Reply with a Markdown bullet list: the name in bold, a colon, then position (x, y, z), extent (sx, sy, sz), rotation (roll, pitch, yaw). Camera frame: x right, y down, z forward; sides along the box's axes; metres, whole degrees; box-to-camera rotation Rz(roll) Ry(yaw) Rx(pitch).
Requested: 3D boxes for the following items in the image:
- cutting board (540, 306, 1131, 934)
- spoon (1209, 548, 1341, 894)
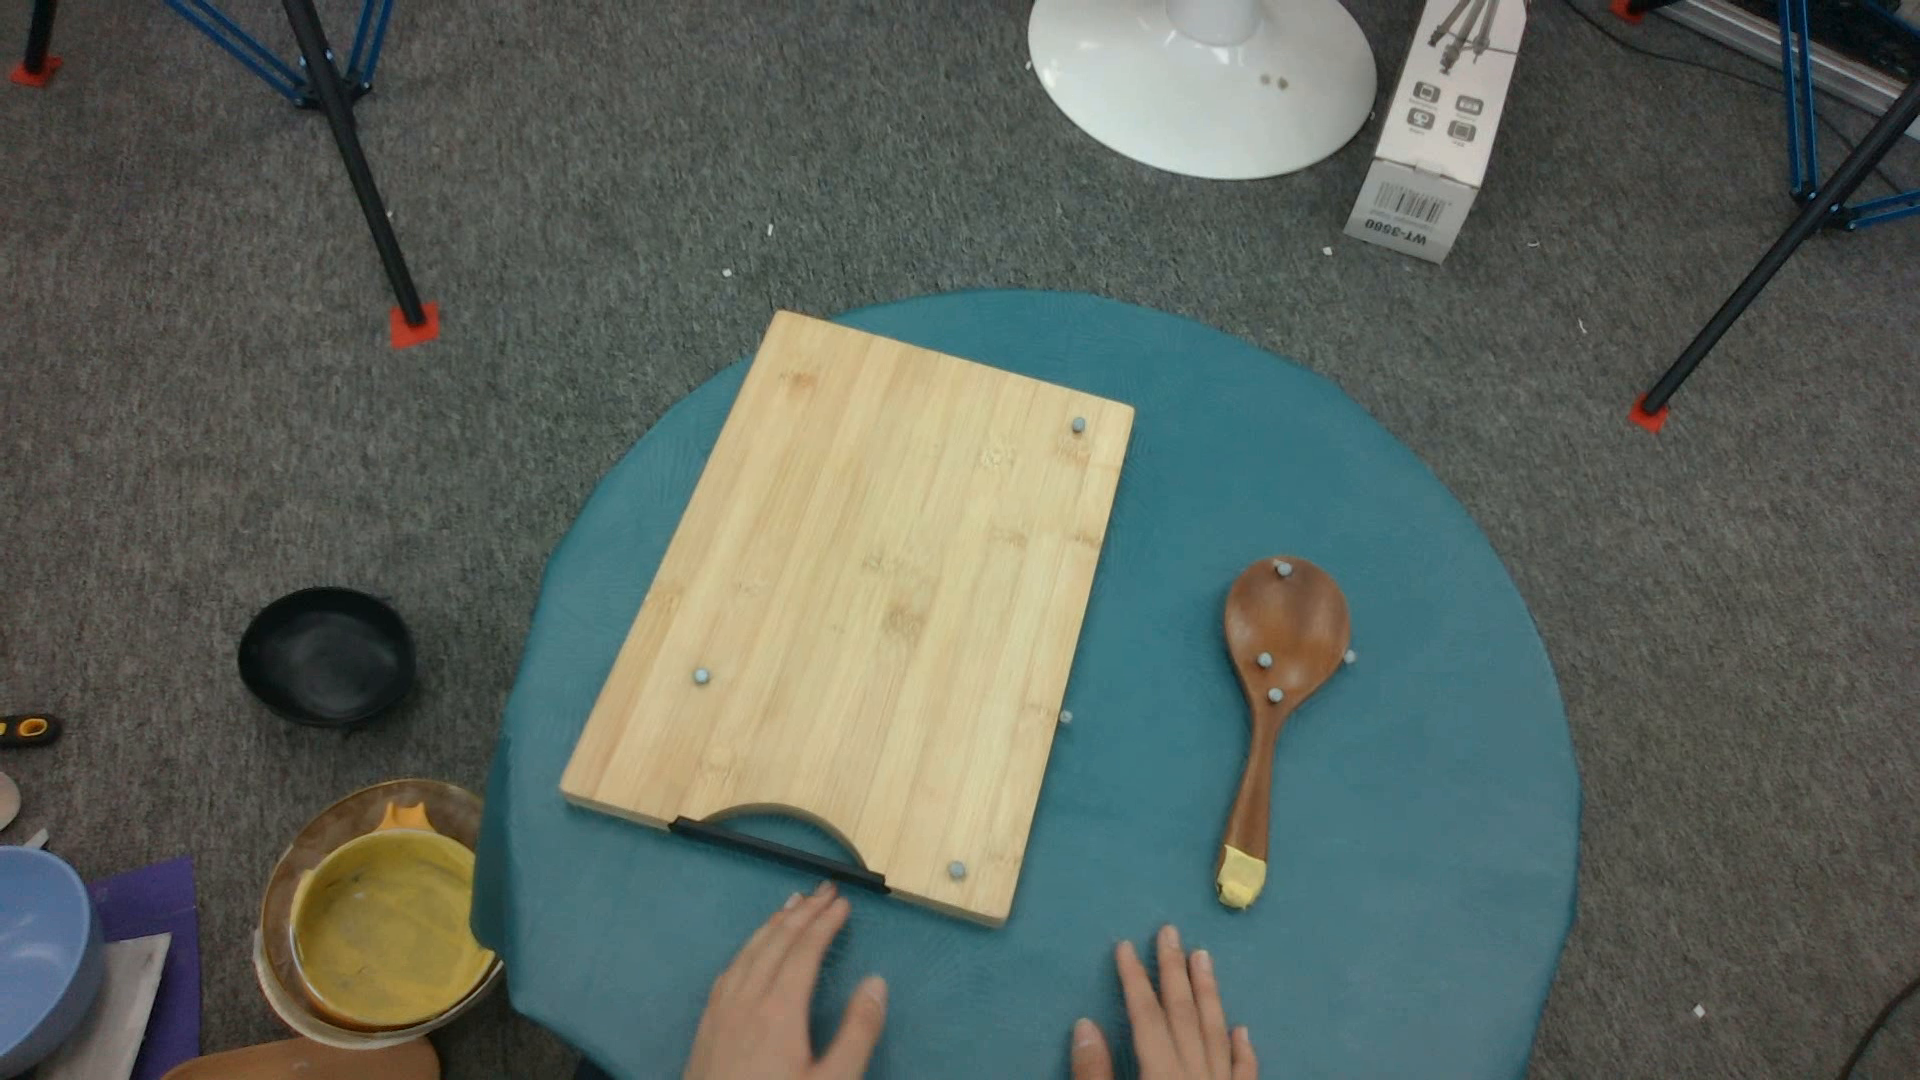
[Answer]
- **cutting board**: position (-0.053, 0.026, 0.793), extent (0.250, 0.023, 0.350), rotation (15, 58, 3)
- **spoon**: position (0.169, 0.096, 0.775), extent (0.075, 0.017, 0.217), rotation (17, 58, 3)
